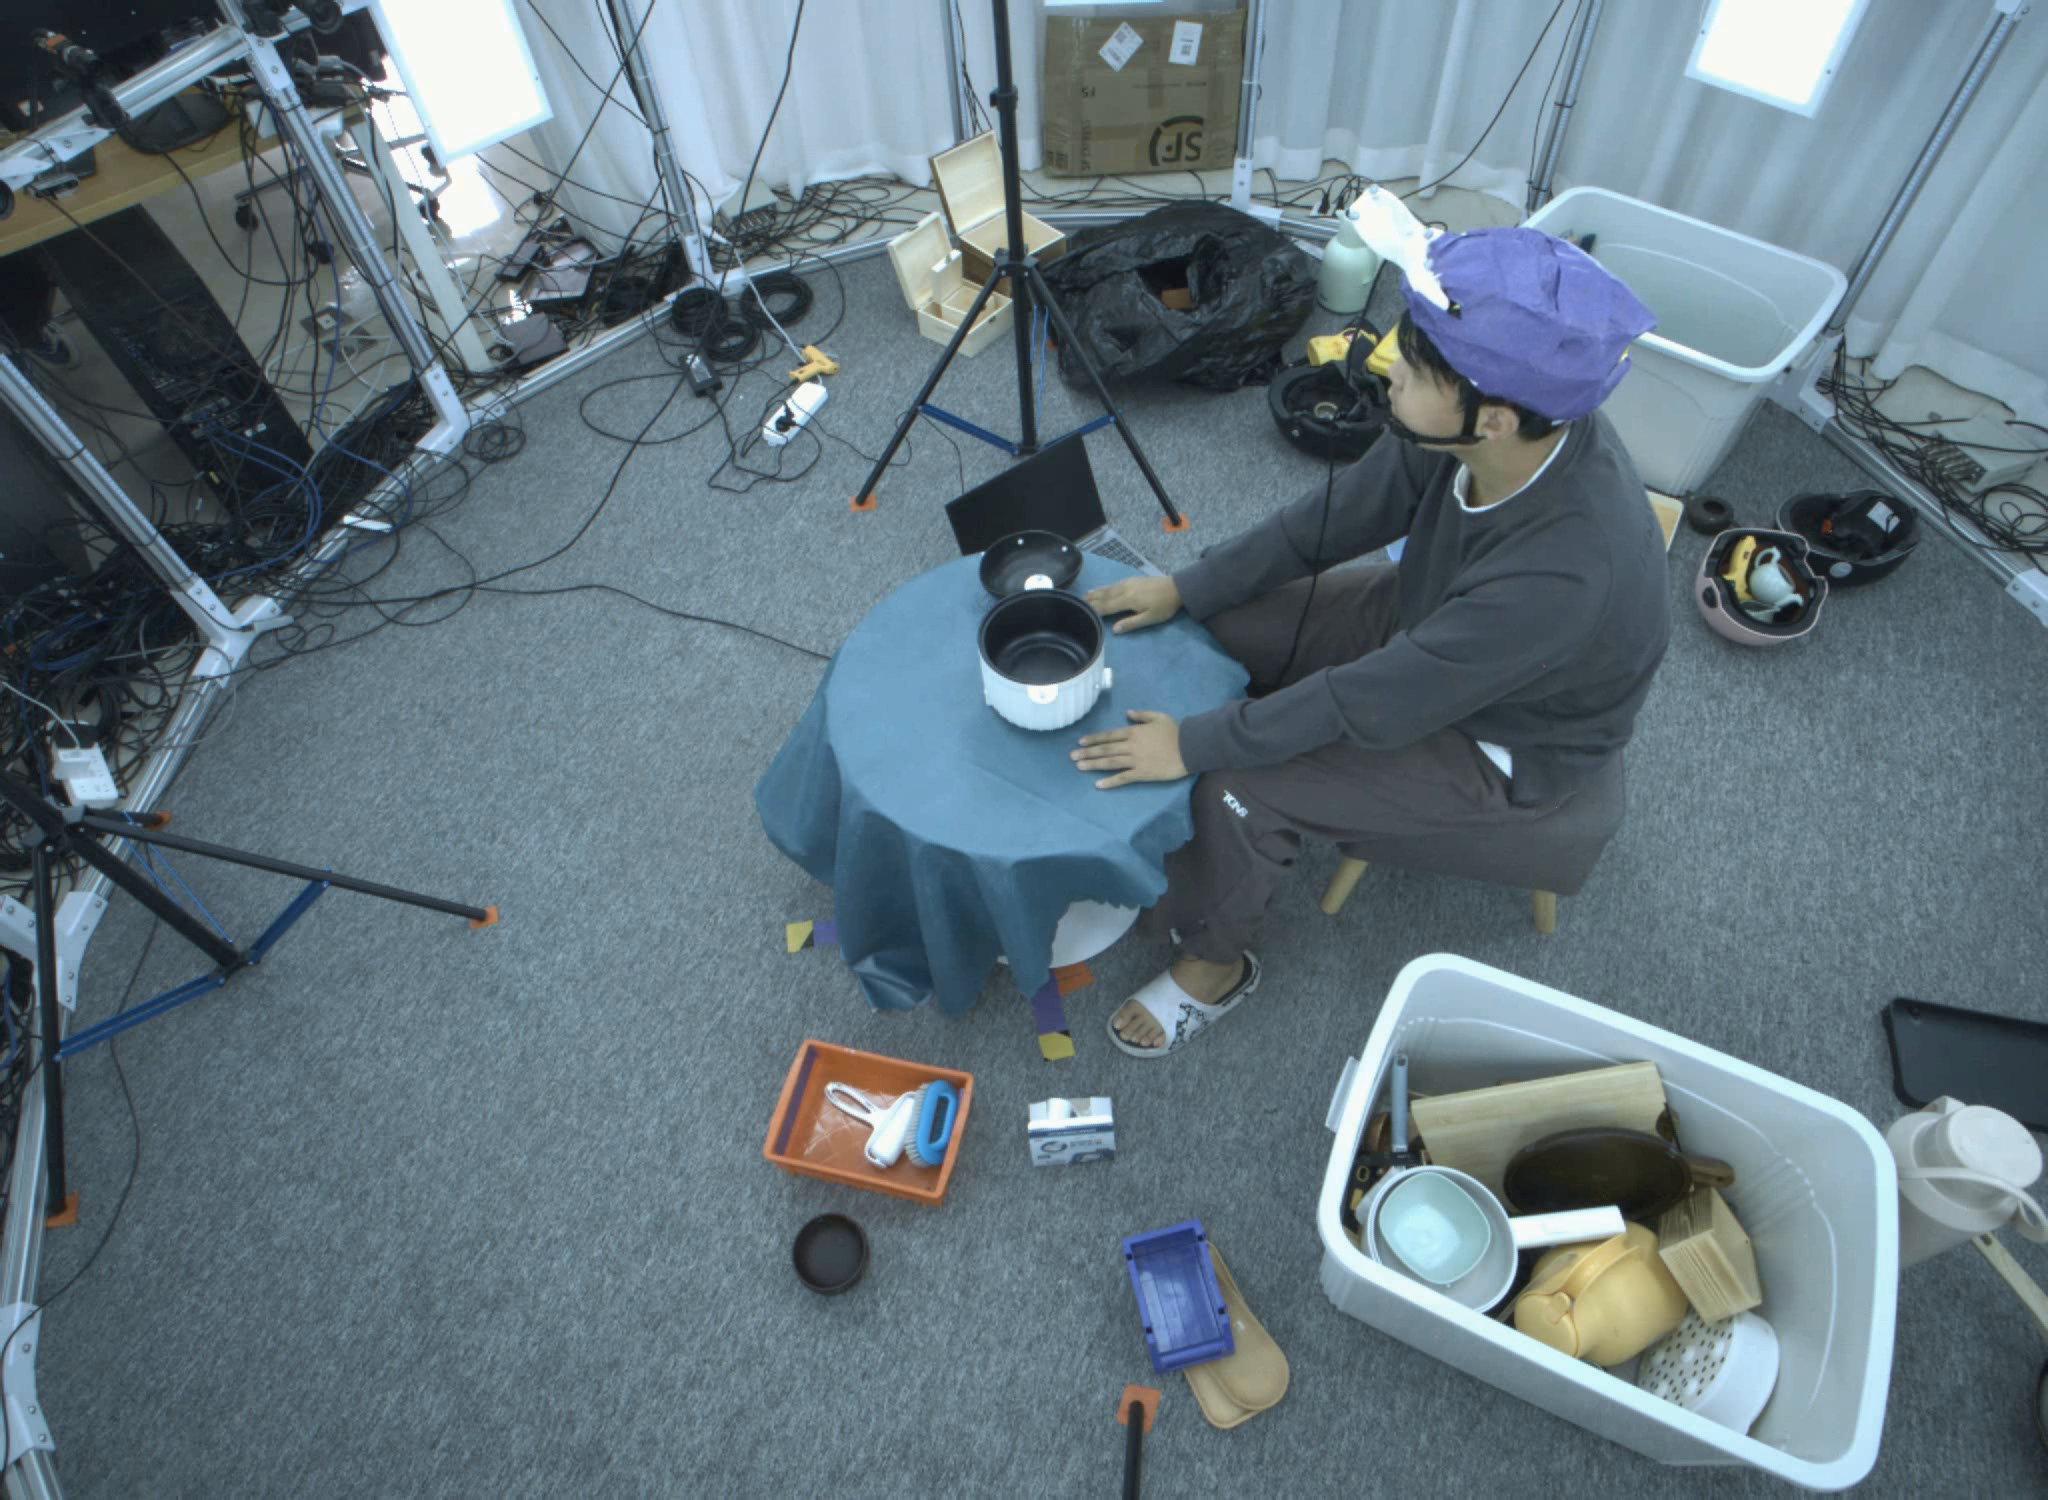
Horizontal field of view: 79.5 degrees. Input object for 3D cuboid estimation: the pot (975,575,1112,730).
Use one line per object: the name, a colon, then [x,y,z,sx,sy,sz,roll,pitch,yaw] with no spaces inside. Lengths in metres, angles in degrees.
pot: [0.031,-0.127,1.792,0.190,0.144,0.237,-5,56,2]

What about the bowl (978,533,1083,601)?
bowl: [0.010,-0.277,1.944,0.172,0.067,0.135,-21,57,-14]
